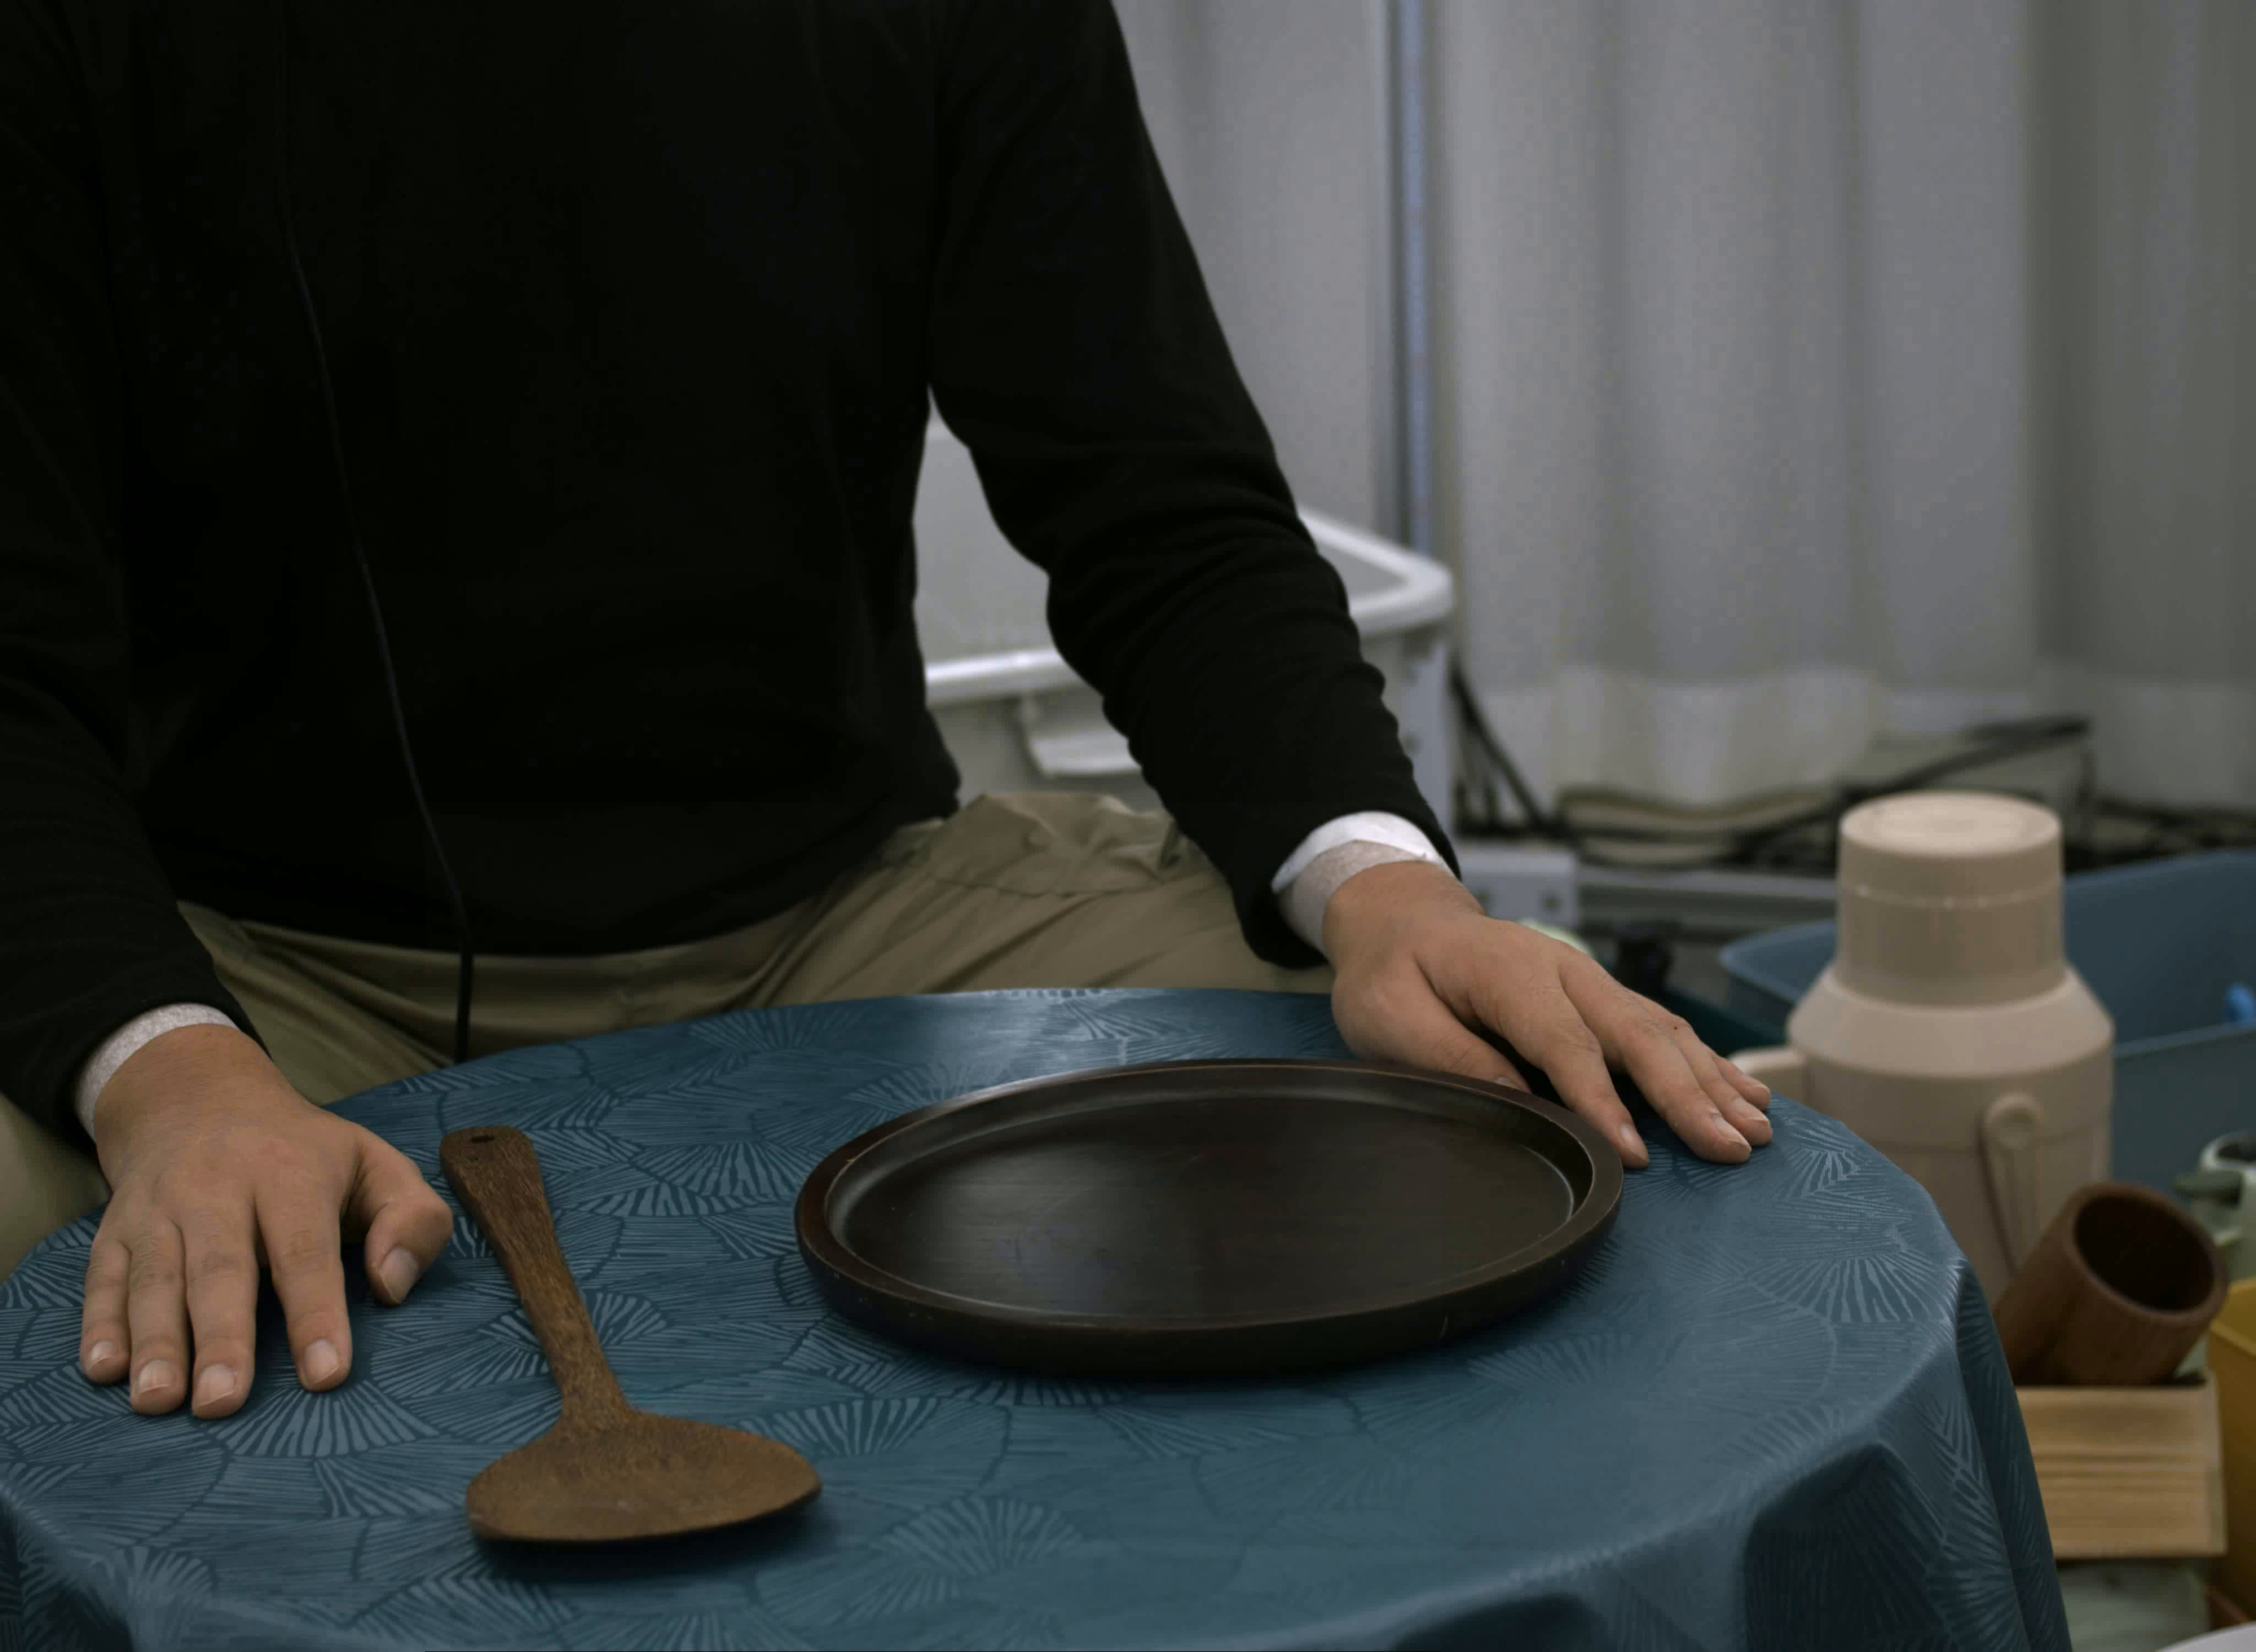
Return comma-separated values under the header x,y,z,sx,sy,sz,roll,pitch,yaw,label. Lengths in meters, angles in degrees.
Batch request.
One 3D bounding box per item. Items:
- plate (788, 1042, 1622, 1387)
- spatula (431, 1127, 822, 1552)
x,y,z,sx,sy,sz,roll,pitch,yaw,label
0.024,0.117,1.653,0.254,0.029,0.256,-4,15,1,plate
-0.168,0.144,1.608,0.095,0.016,0.389,-6,15,-13,spatula
